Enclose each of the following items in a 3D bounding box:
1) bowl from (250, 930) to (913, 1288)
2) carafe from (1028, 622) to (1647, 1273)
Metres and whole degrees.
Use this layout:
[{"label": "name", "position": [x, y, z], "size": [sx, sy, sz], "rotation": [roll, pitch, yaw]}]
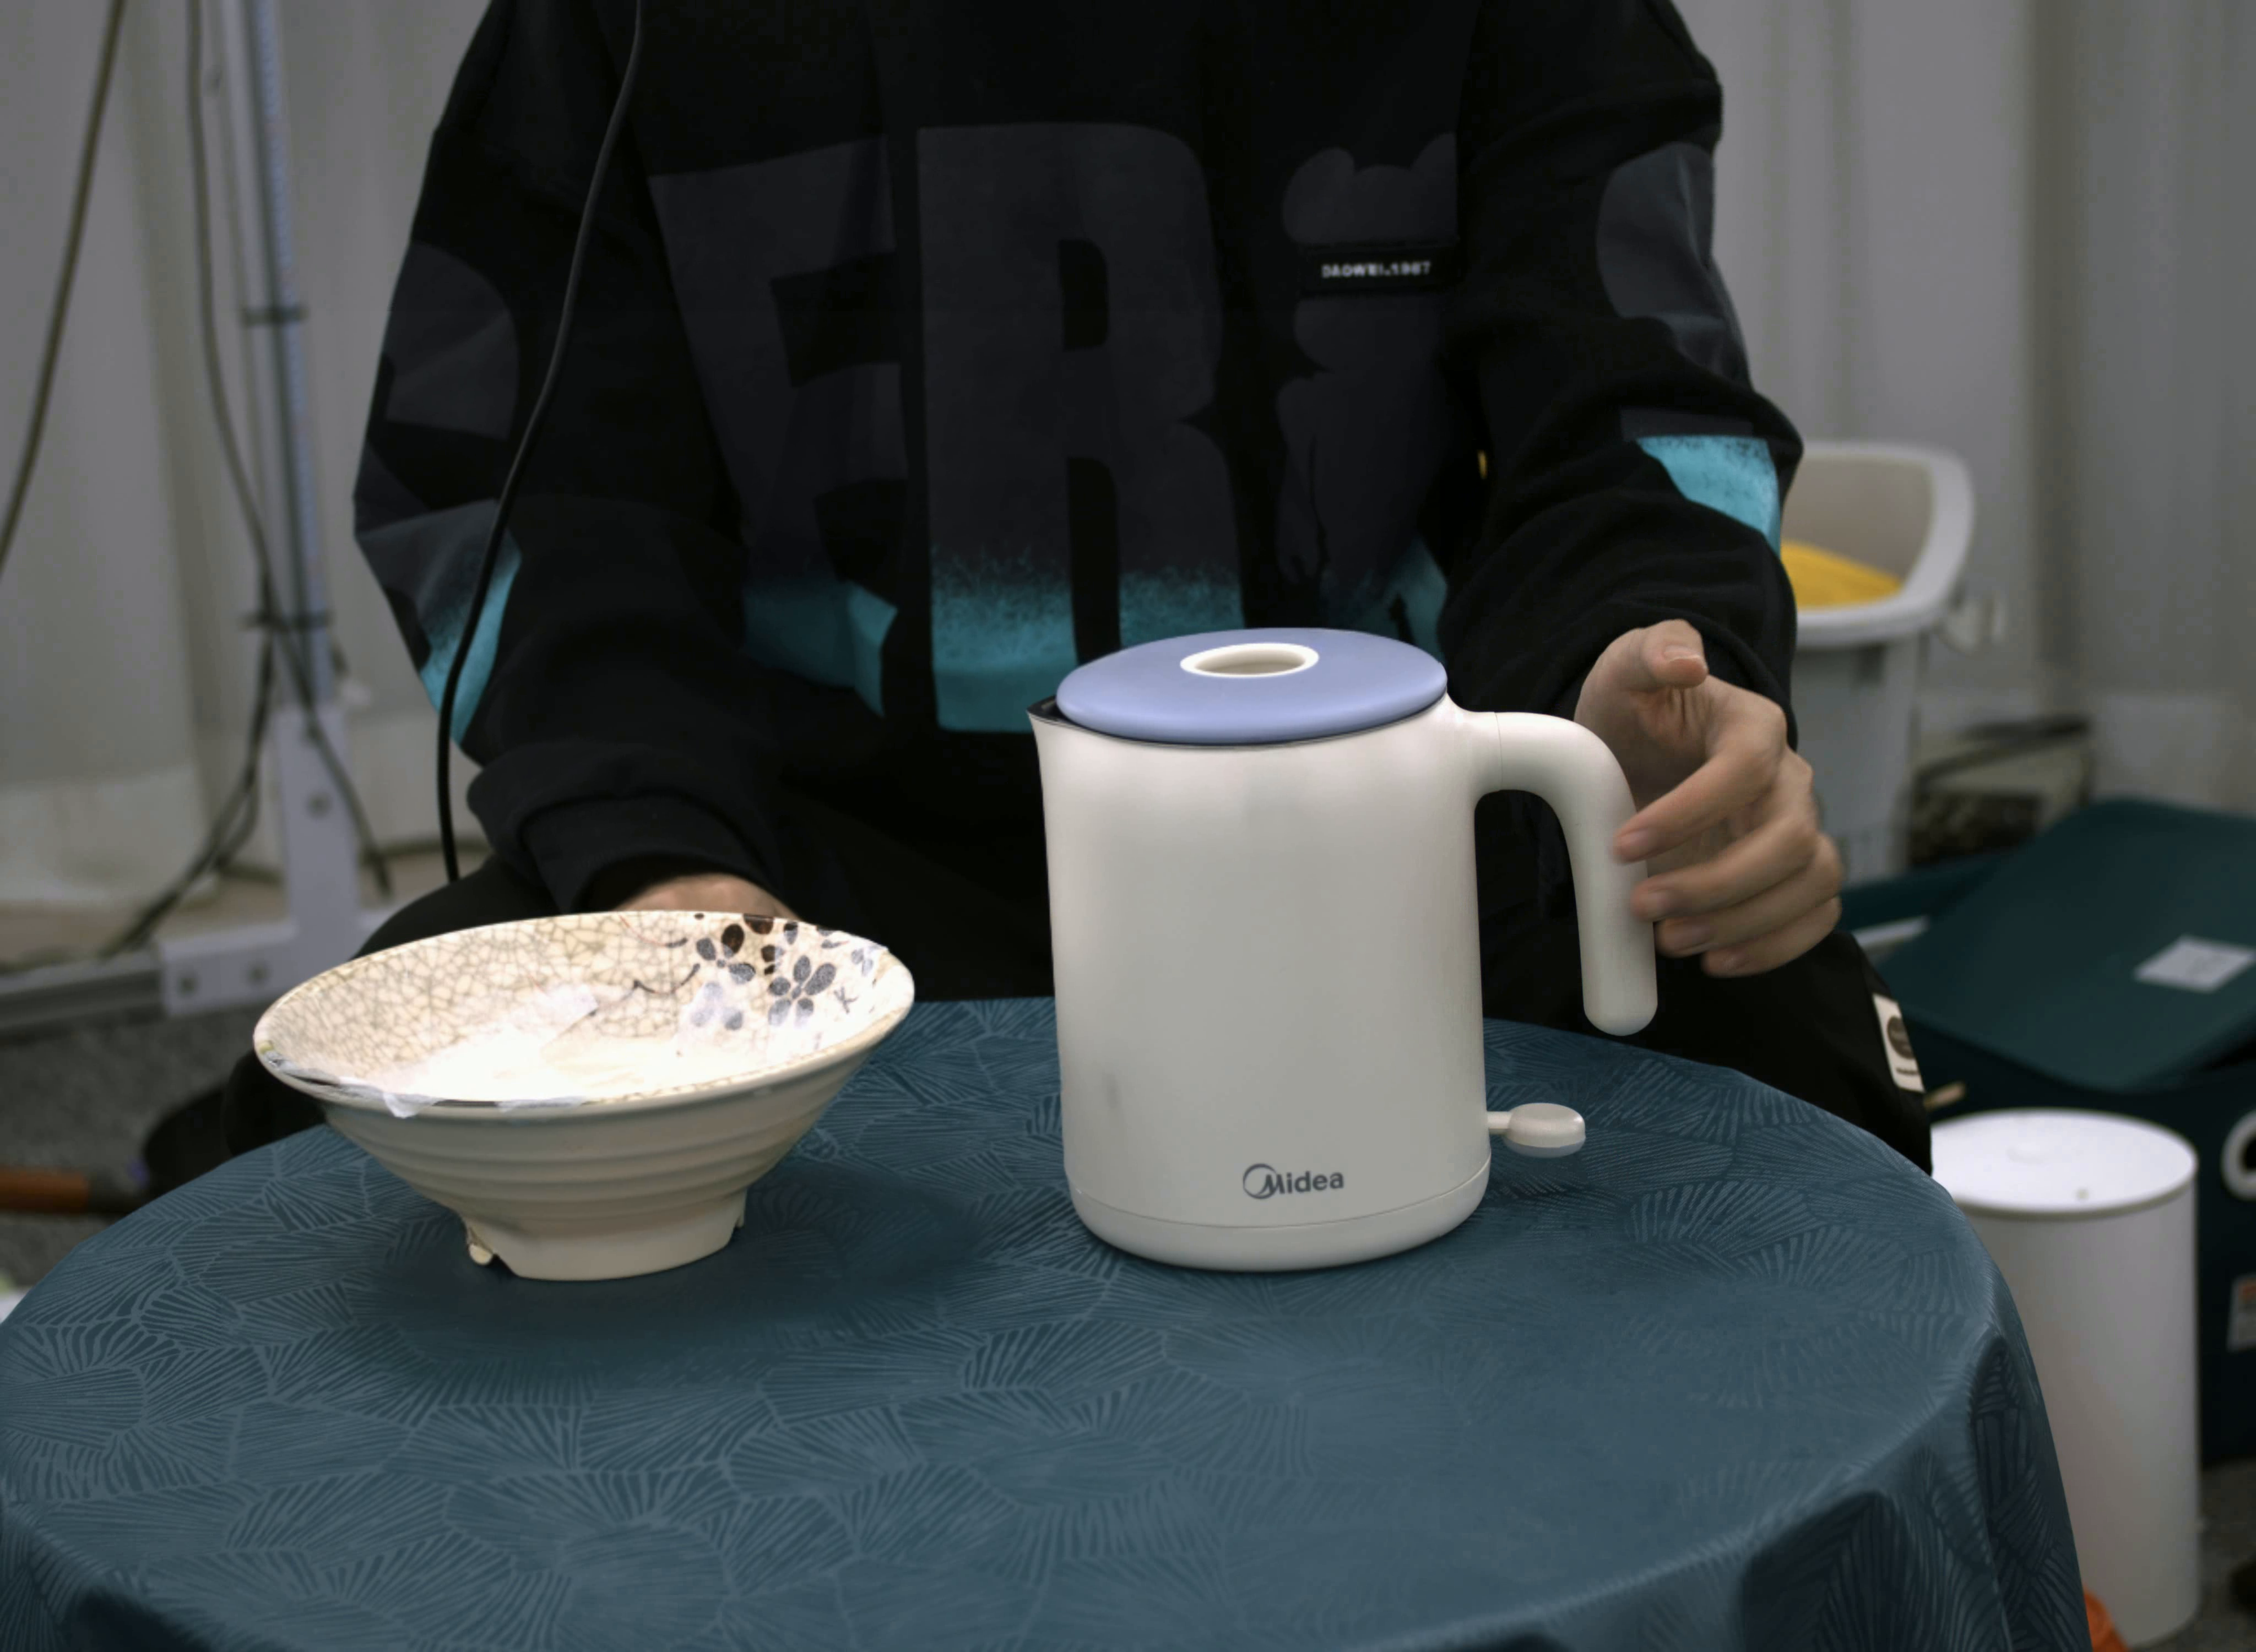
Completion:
[{"label": "bowl", "position": [-0.166, 0.093, 1.687], "size": [0.203, 0.078, 0.205], "rotation": [-3, 12, 0]}, {"label": "carafe", "position": [0.065, 0.035, 1.672], "size": [0.190, 0.182, 0.133], "rotation": [-2, 15, -5]}]
